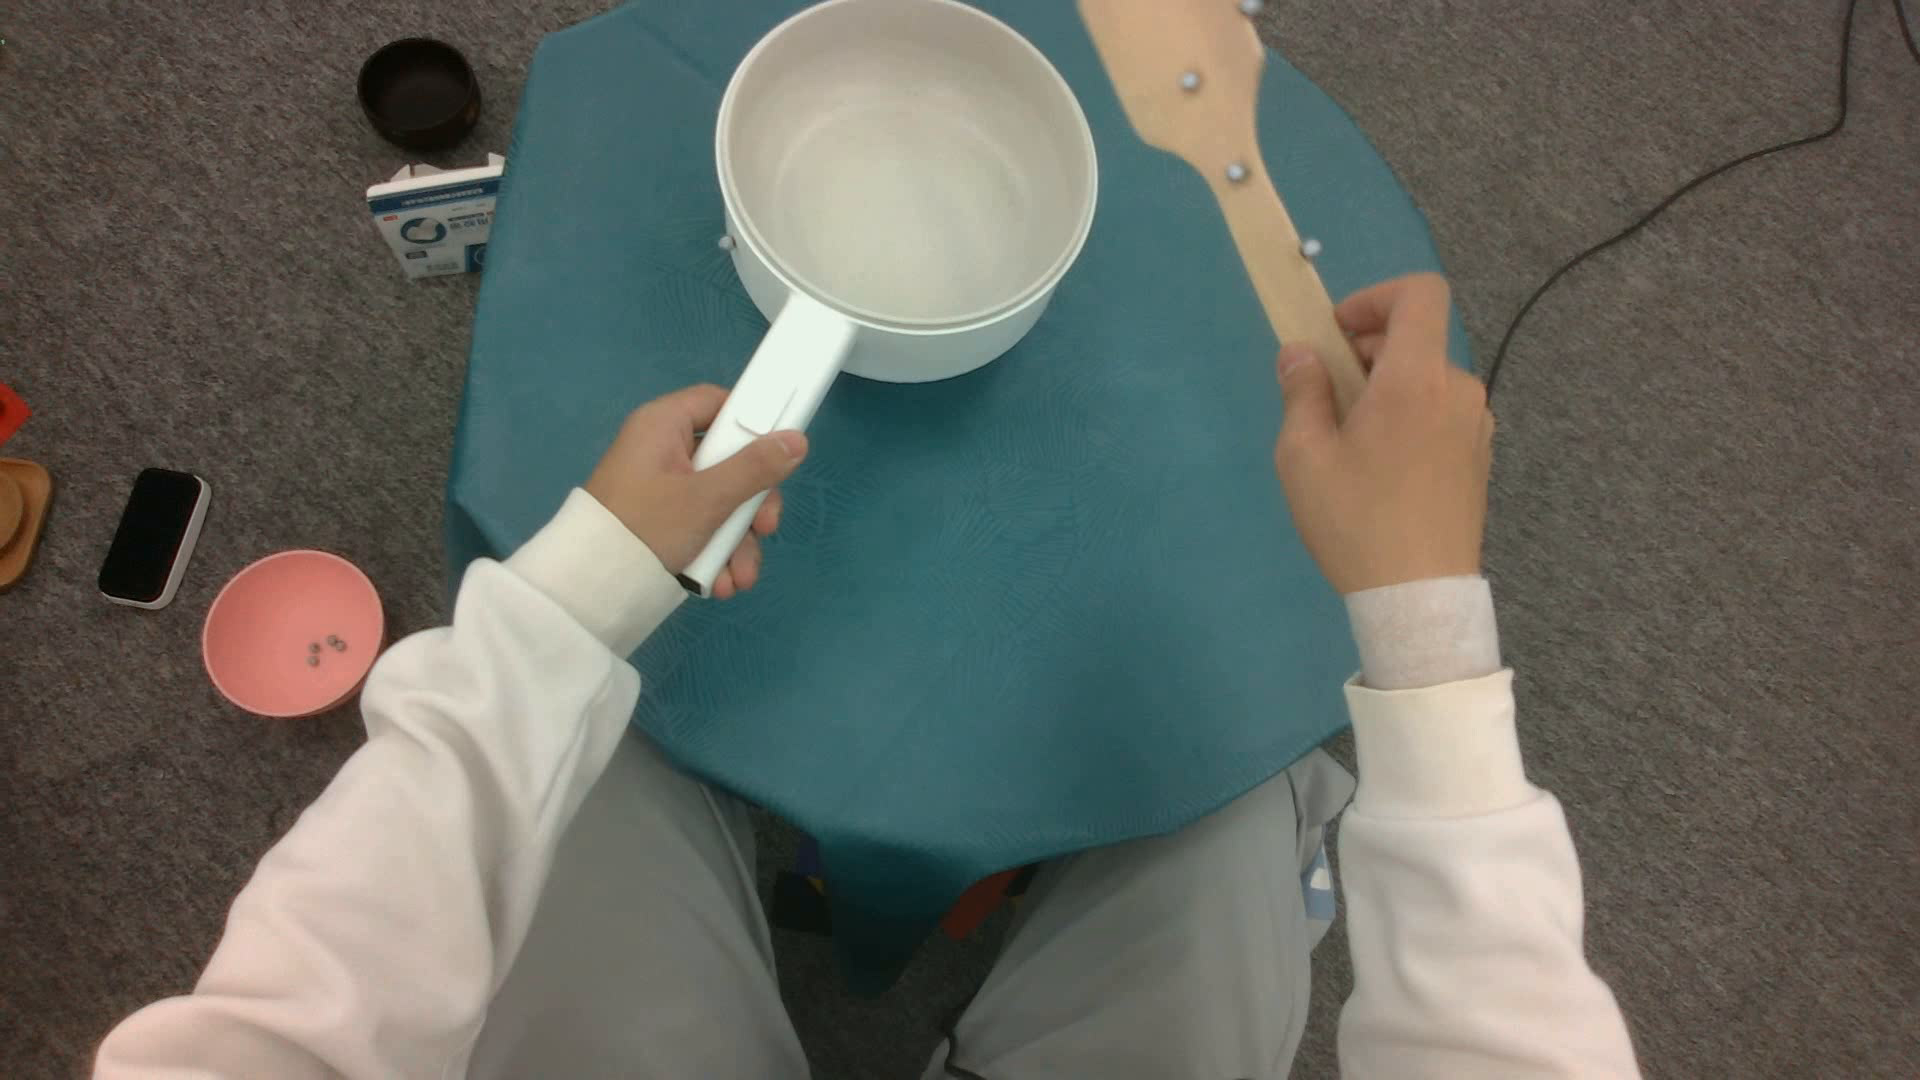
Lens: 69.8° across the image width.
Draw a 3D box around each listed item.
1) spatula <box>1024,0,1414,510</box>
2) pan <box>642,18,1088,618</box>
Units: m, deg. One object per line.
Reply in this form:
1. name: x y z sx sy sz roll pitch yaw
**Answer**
1. spatula: 0.120 -0.142 0.621 0.011 0.072 0.293 -15 72 -47
2. pan: -0.067 -0.114 0.752 0.201 0.102 0.356 25 72 0
